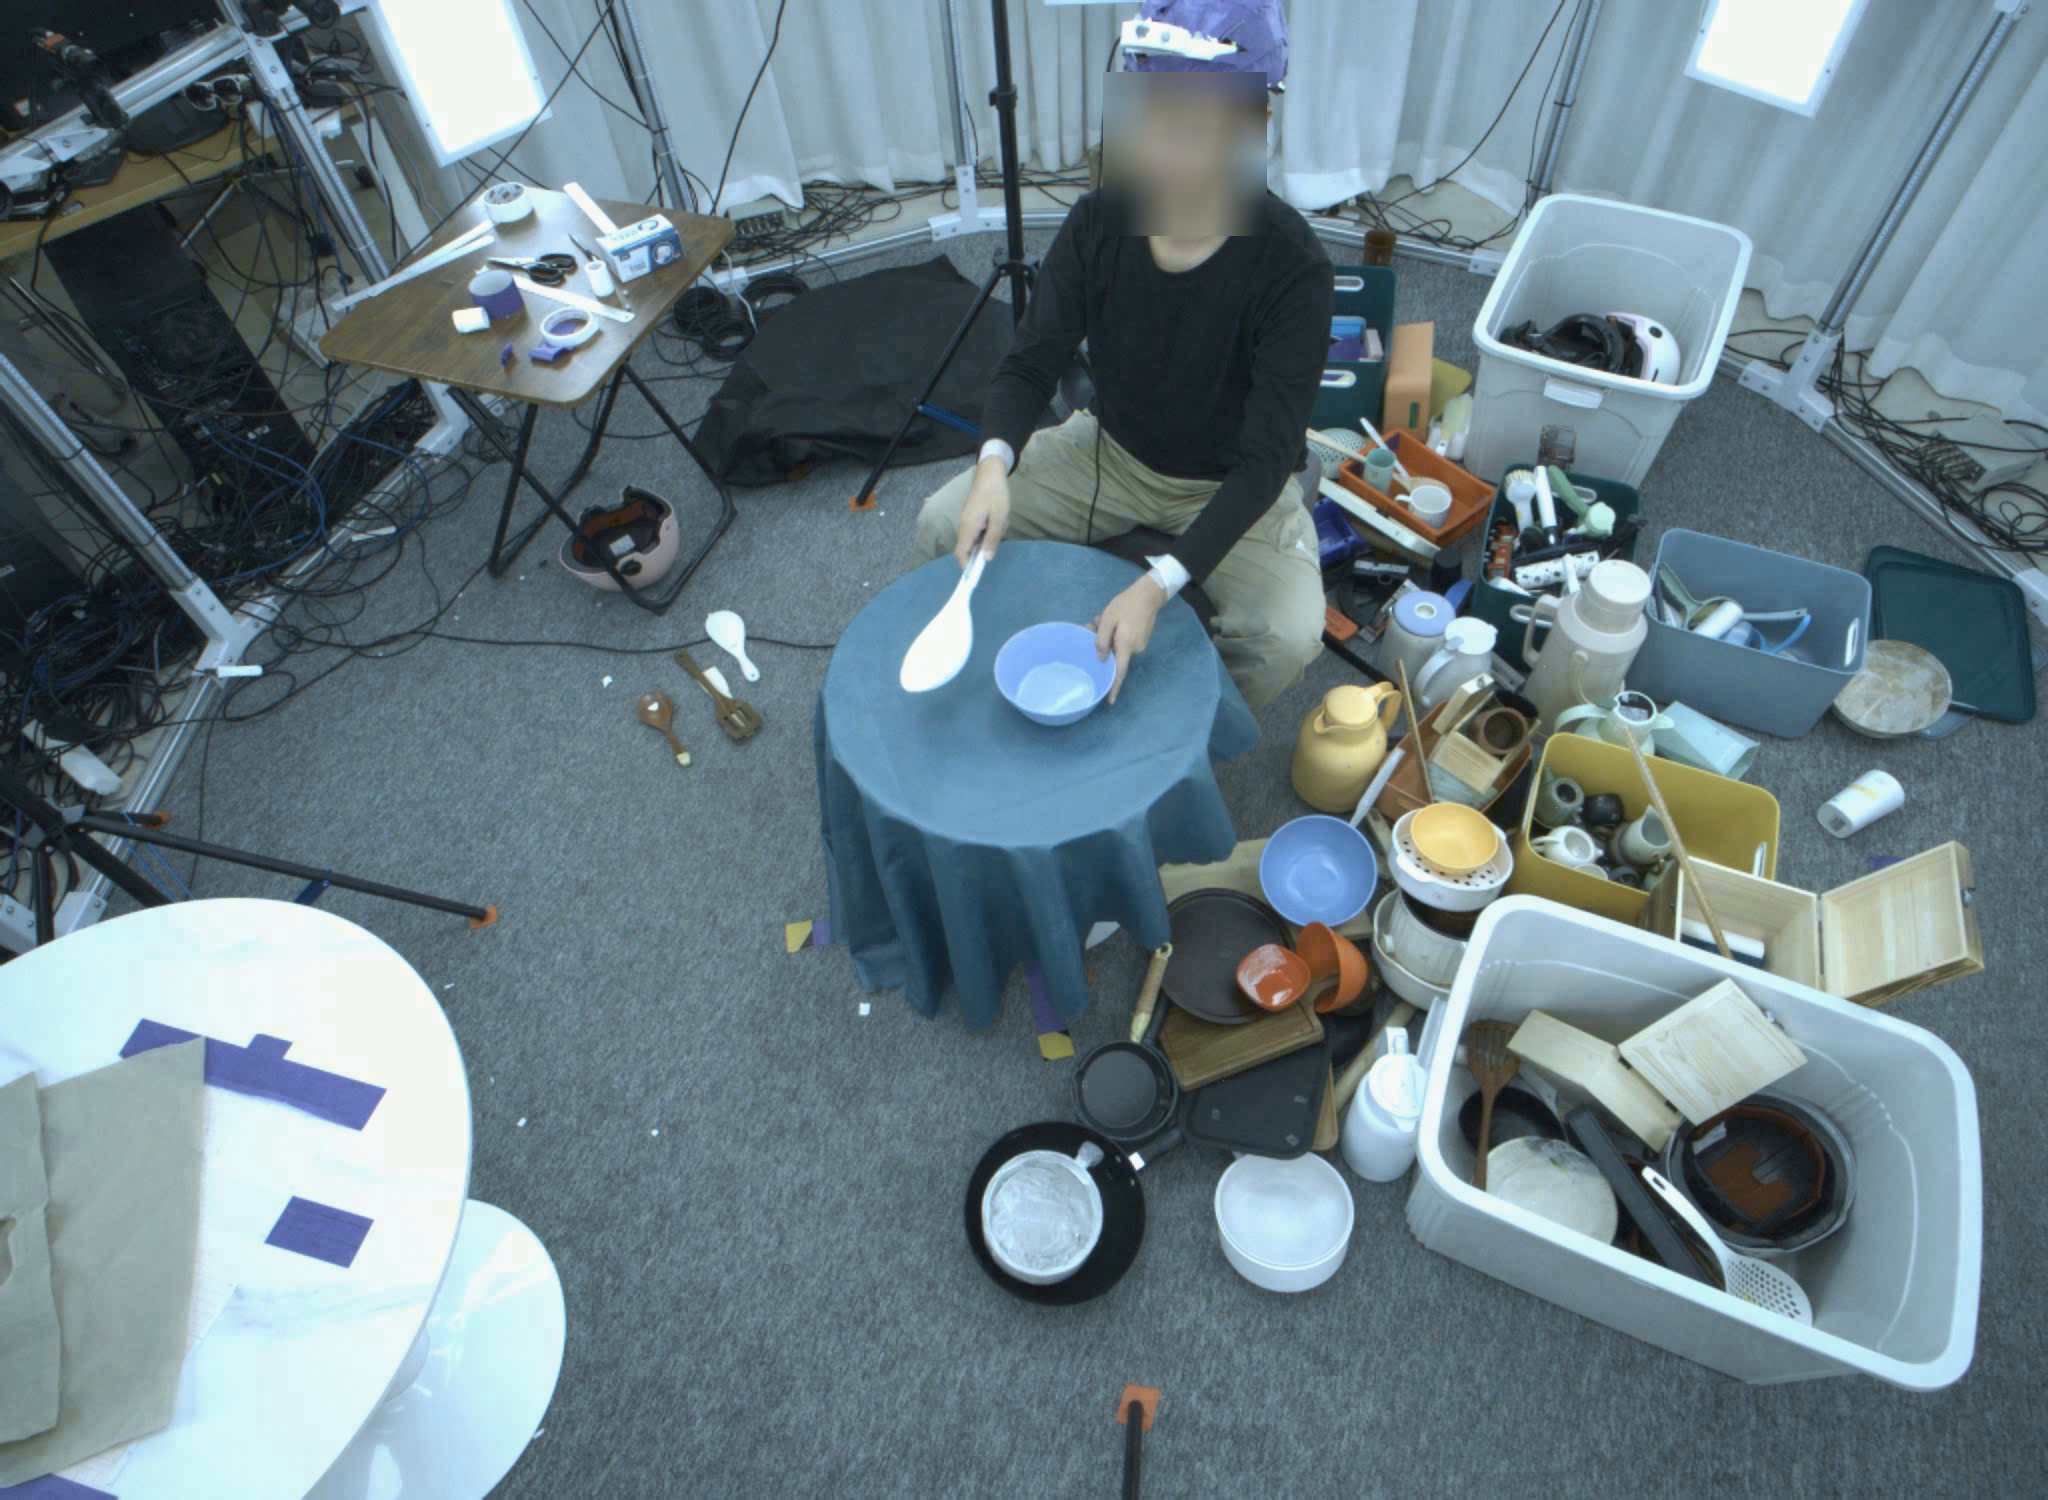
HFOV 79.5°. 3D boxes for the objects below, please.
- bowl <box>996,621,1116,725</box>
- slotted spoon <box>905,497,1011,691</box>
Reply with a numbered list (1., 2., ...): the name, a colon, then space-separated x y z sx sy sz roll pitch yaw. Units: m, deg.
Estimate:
1. bowl: 0.047 -0.102 1.815 0.176 0.071 0.174 0 55 1
2. slotted spoon: -0.085 -0.231 1.787 0.133 0.047 0.348 -9 58 46
